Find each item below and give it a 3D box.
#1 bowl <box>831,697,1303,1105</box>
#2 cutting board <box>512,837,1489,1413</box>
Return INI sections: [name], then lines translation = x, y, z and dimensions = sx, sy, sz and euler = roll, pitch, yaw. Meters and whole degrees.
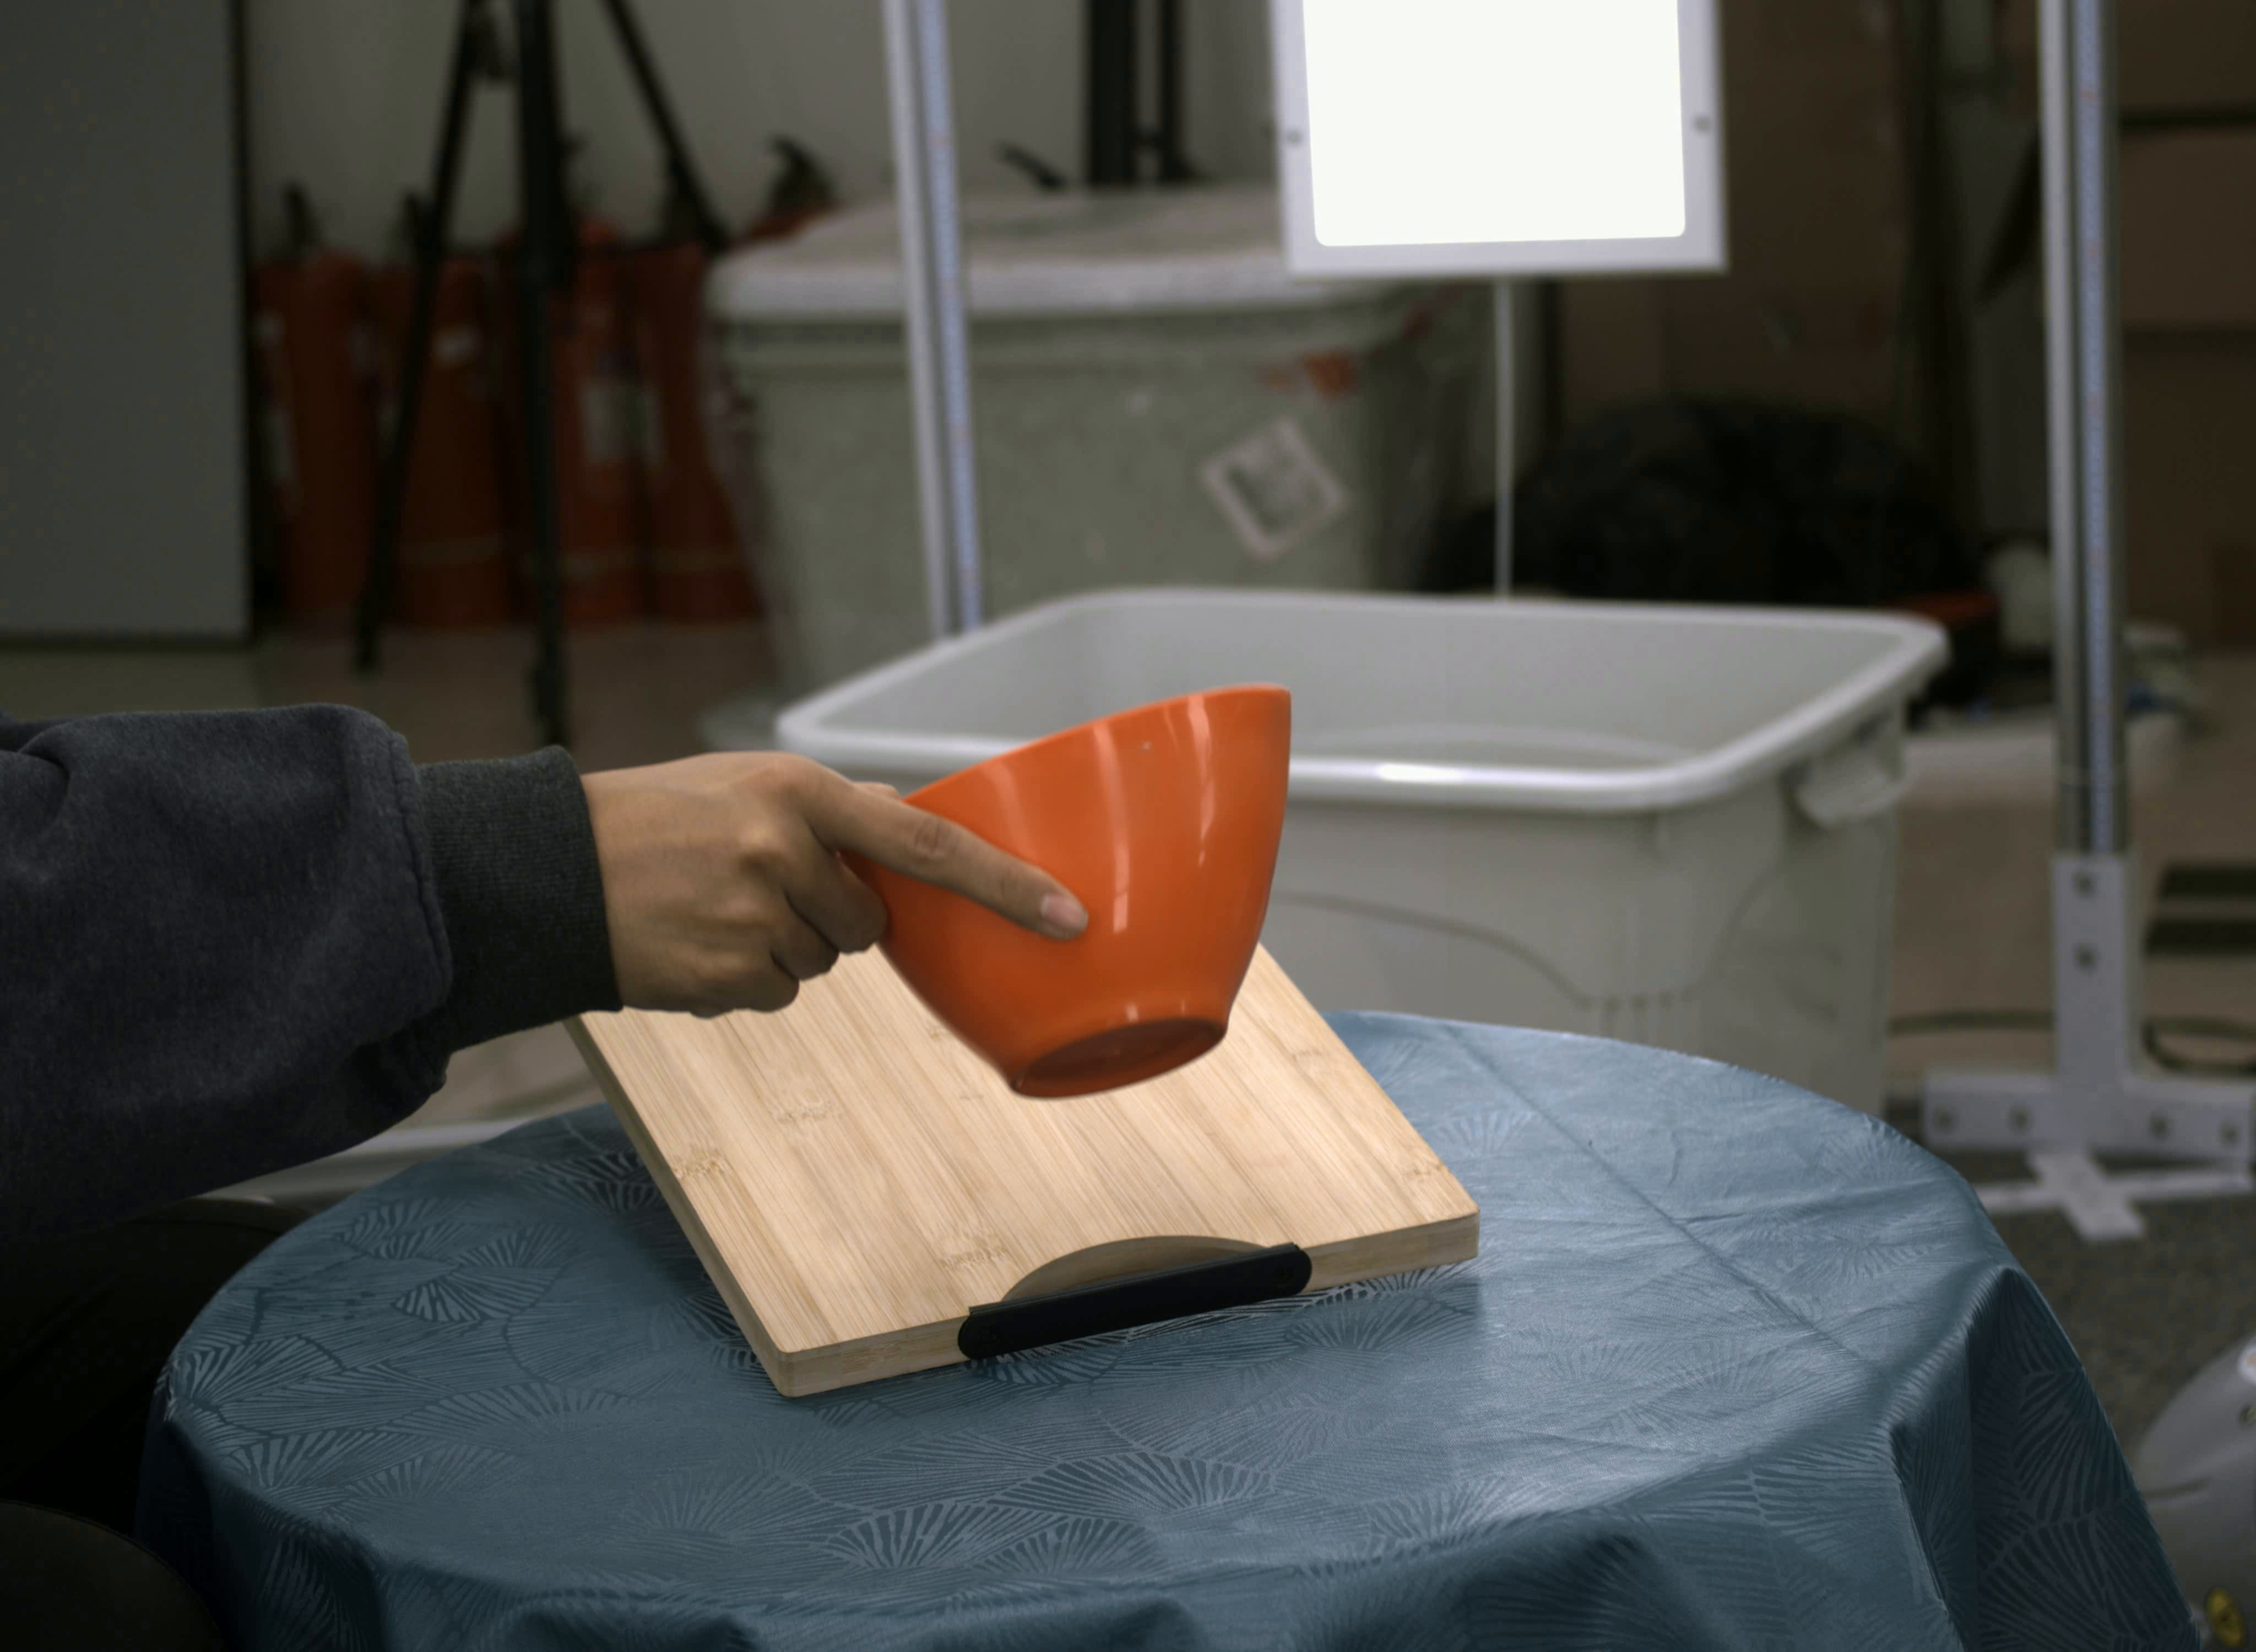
[bowl]
translation = -0.010, 0.025, 1.632
dimensions = 0.147, 0.105, 0.148
euler = -11, -17, -5
[cutting board]
translation = -0.053, 0.084, 1.888
dimensions = 0.247, 0.024, 0.352
euler = -11, 28, -17
